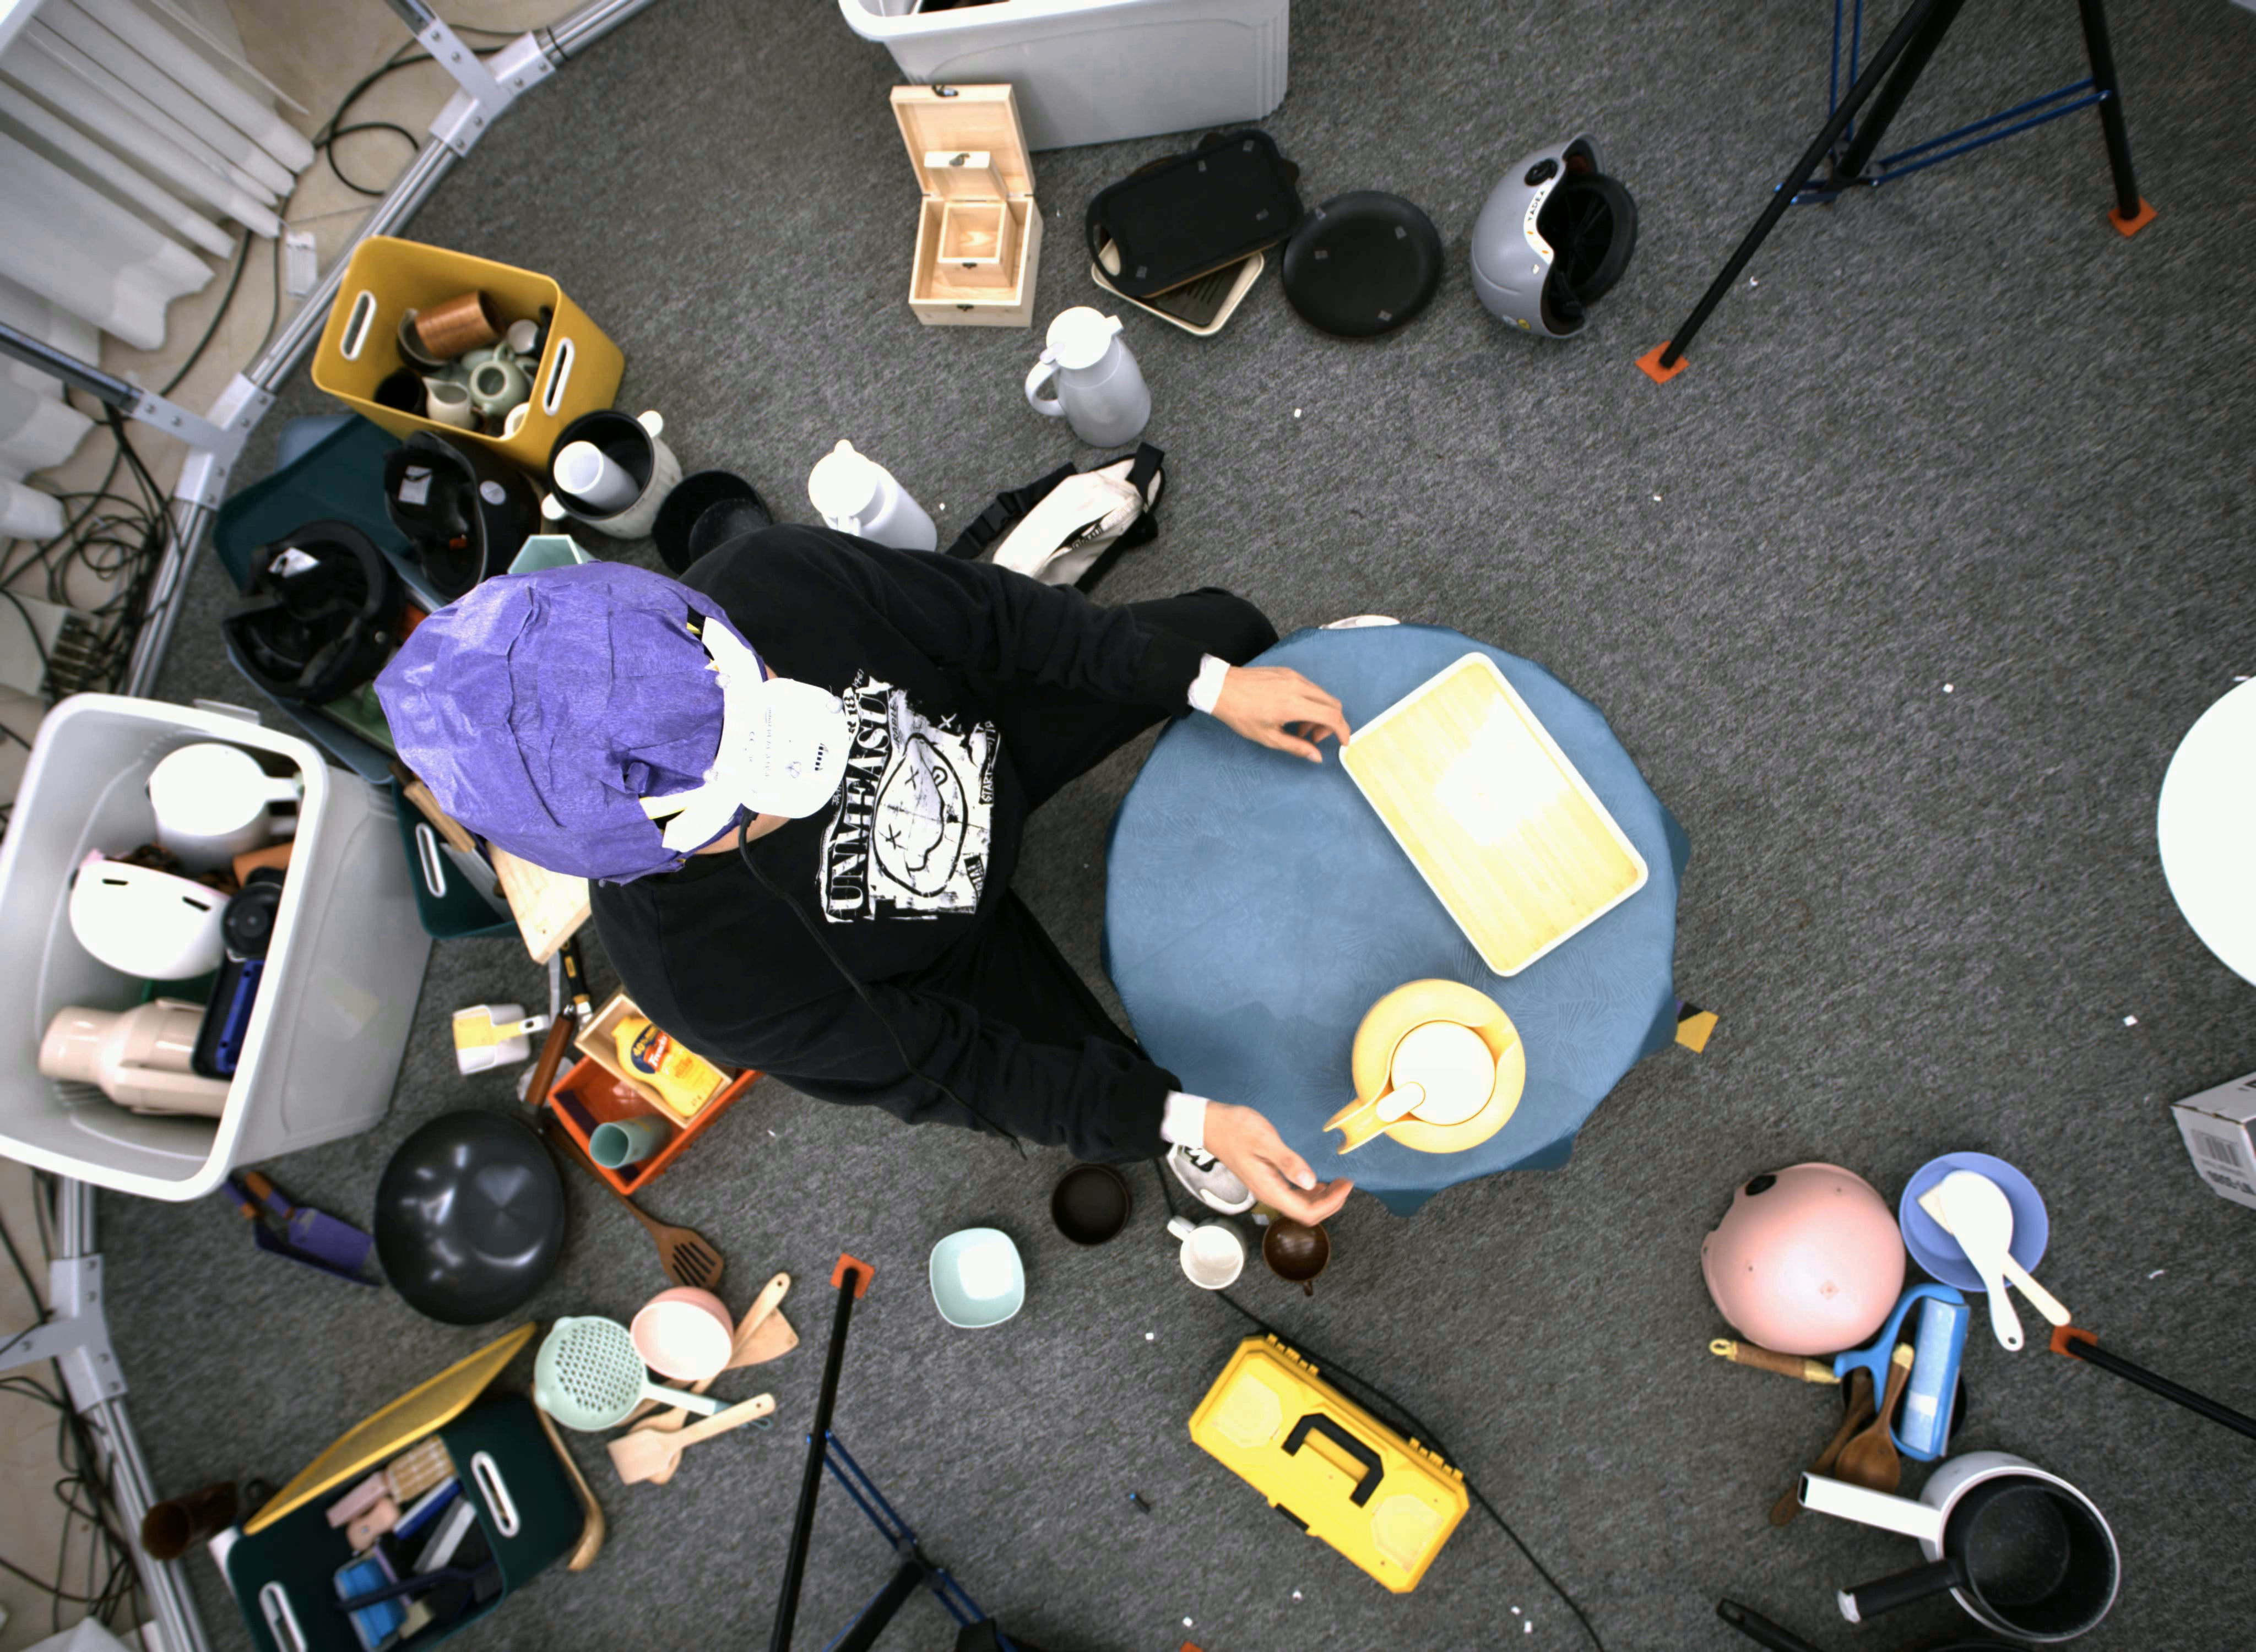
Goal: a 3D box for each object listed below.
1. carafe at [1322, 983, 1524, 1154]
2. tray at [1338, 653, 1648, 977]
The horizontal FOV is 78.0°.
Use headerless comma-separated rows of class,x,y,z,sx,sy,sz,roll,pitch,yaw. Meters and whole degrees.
carafe,0.277,0.237,1.319,0.203,0.261,0.162,-32,78,5
tray,0.377,-0.015,1.431,0.192,0.027,0.298,-35,81,7
